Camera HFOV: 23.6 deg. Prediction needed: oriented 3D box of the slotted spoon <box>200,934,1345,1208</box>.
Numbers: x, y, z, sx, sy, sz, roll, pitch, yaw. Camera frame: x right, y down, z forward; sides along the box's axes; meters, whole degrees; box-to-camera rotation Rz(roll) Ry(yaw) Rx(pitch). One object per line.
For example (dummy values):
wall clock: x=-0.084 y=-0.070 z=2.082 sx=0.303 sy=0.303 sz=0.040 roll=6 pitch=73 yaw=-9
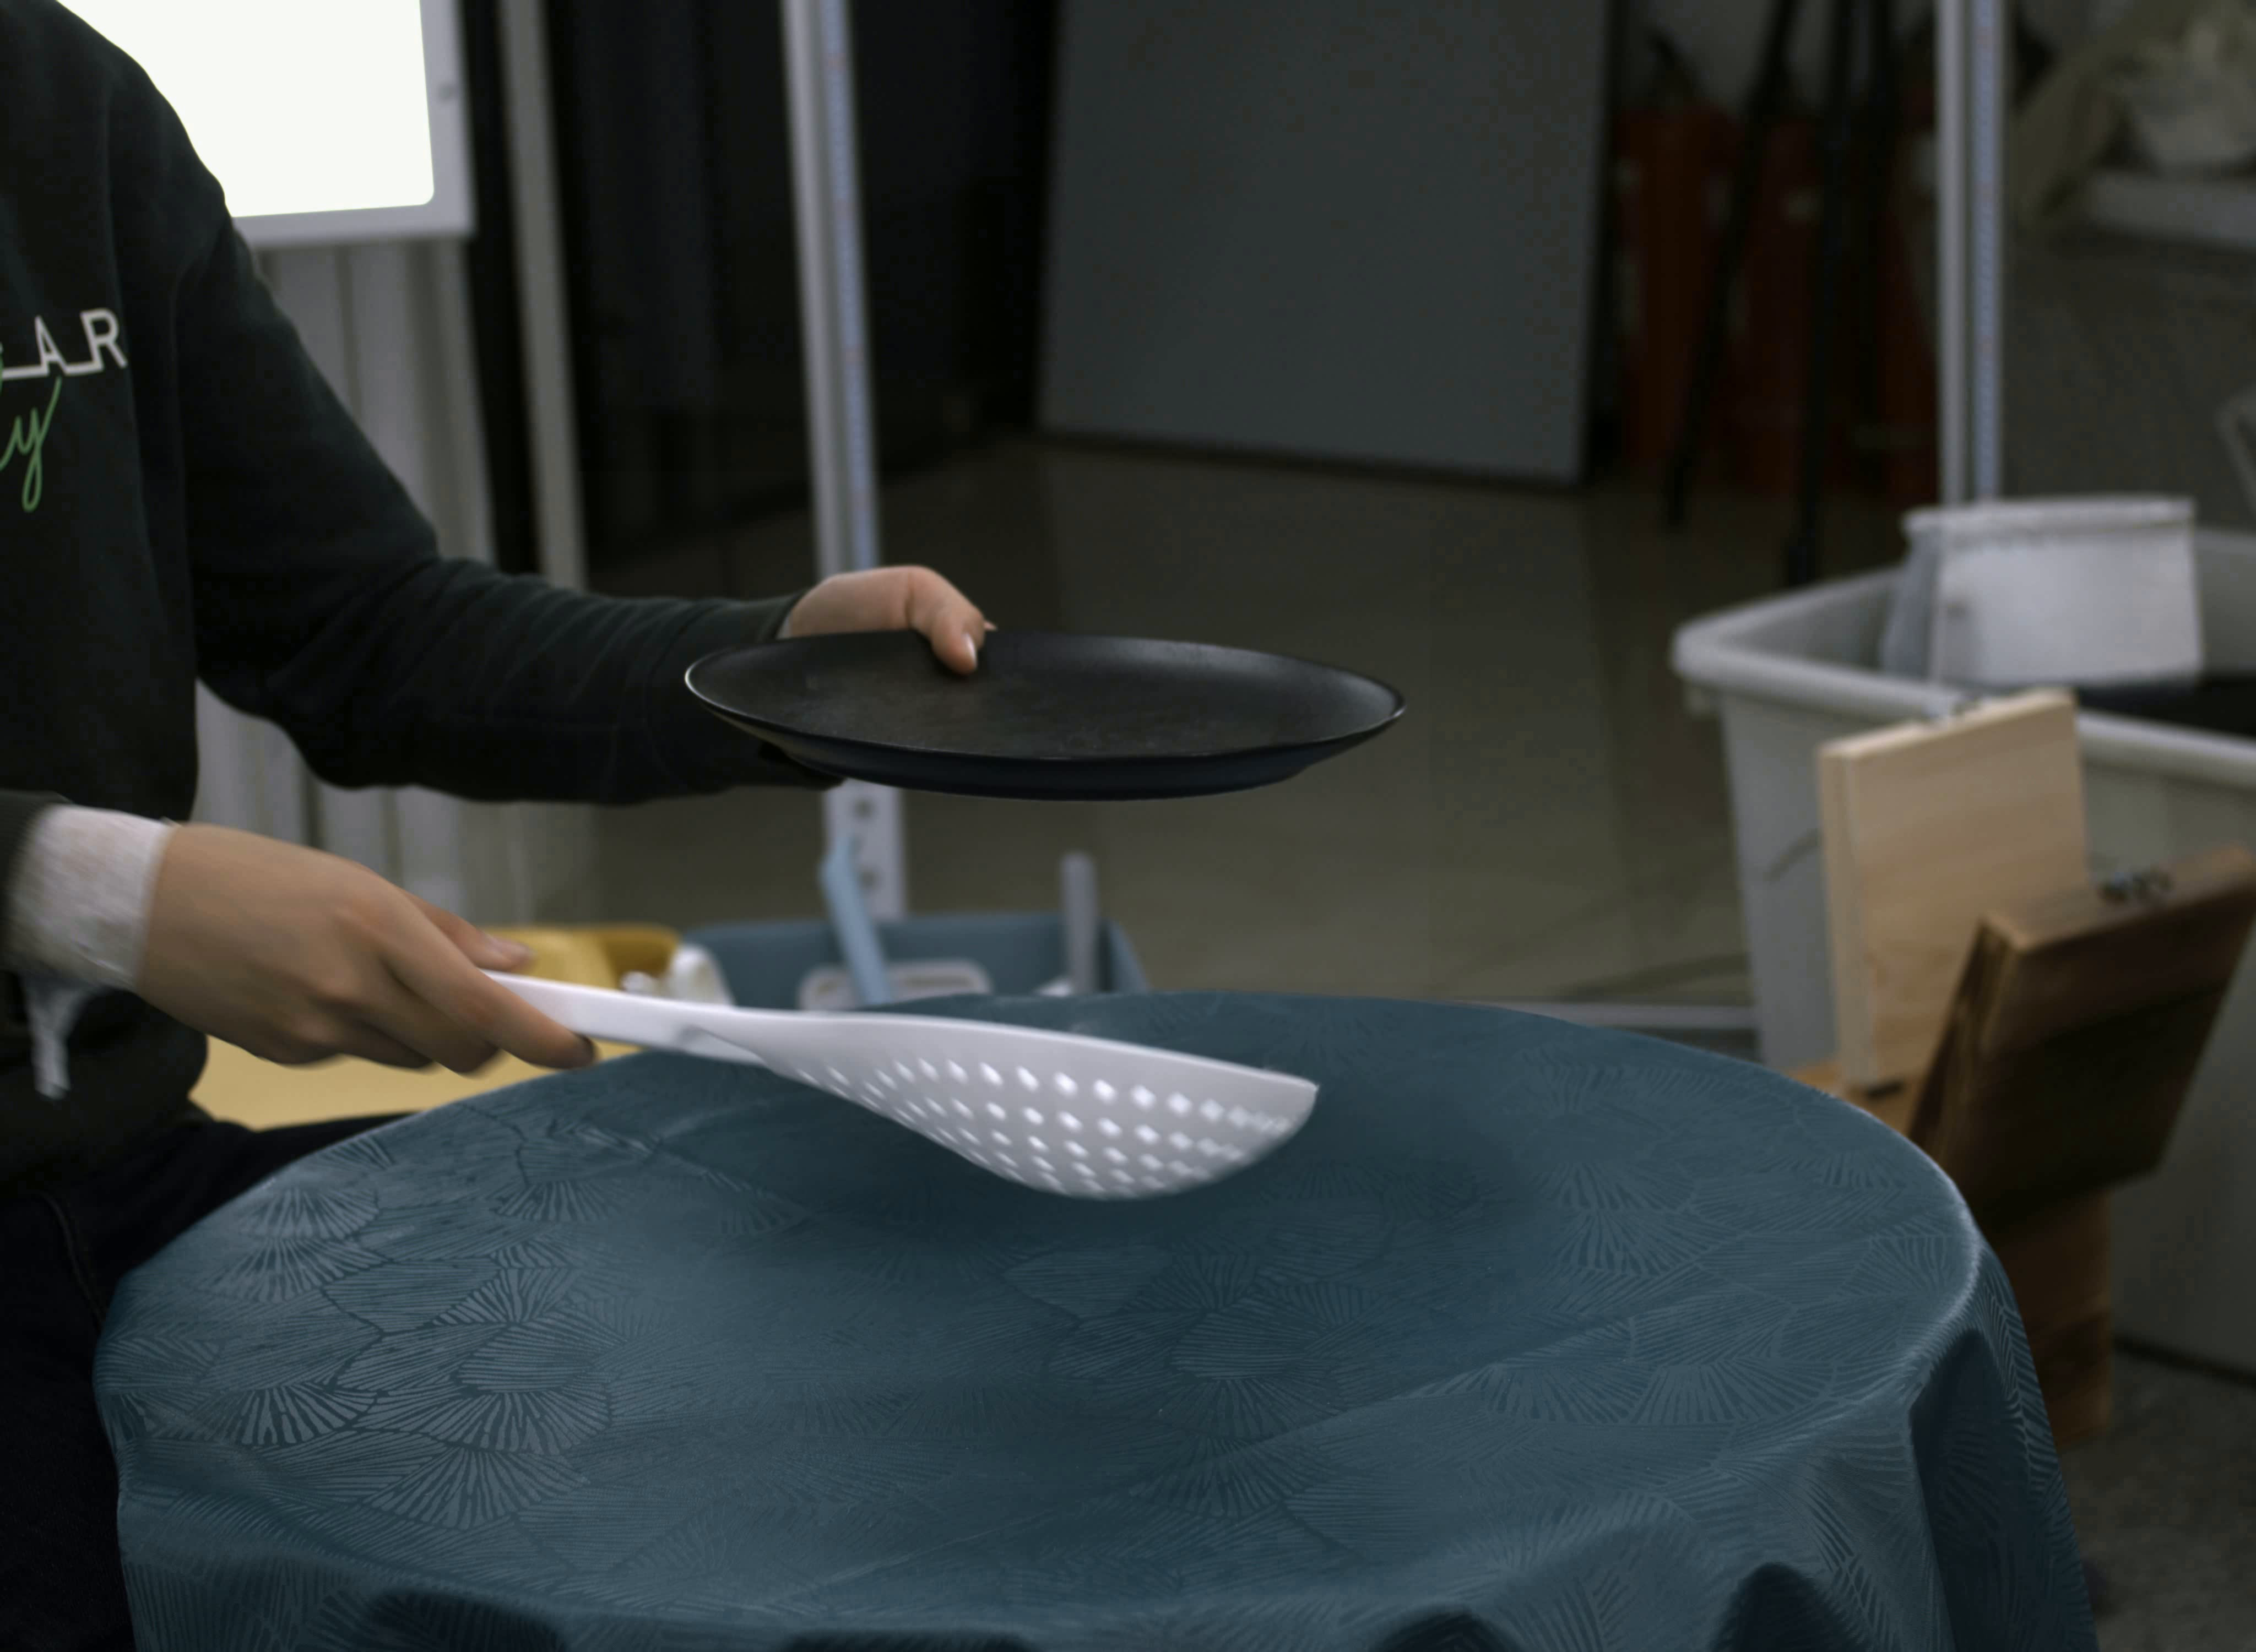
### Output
slotted spoon: x=-0.108 y=0.062 z=1.558 sx=0.349 sy=0.046 sz=0.135 roll=12 pitch=-7 yaw=18

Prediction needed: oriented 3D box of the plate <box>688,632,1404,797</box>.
plate: x=-0.028 y=-0.037 z=1.806 sx=0.241 sy=0.024 sz=0.244 roll=2 pitch=11 yaw=-1
